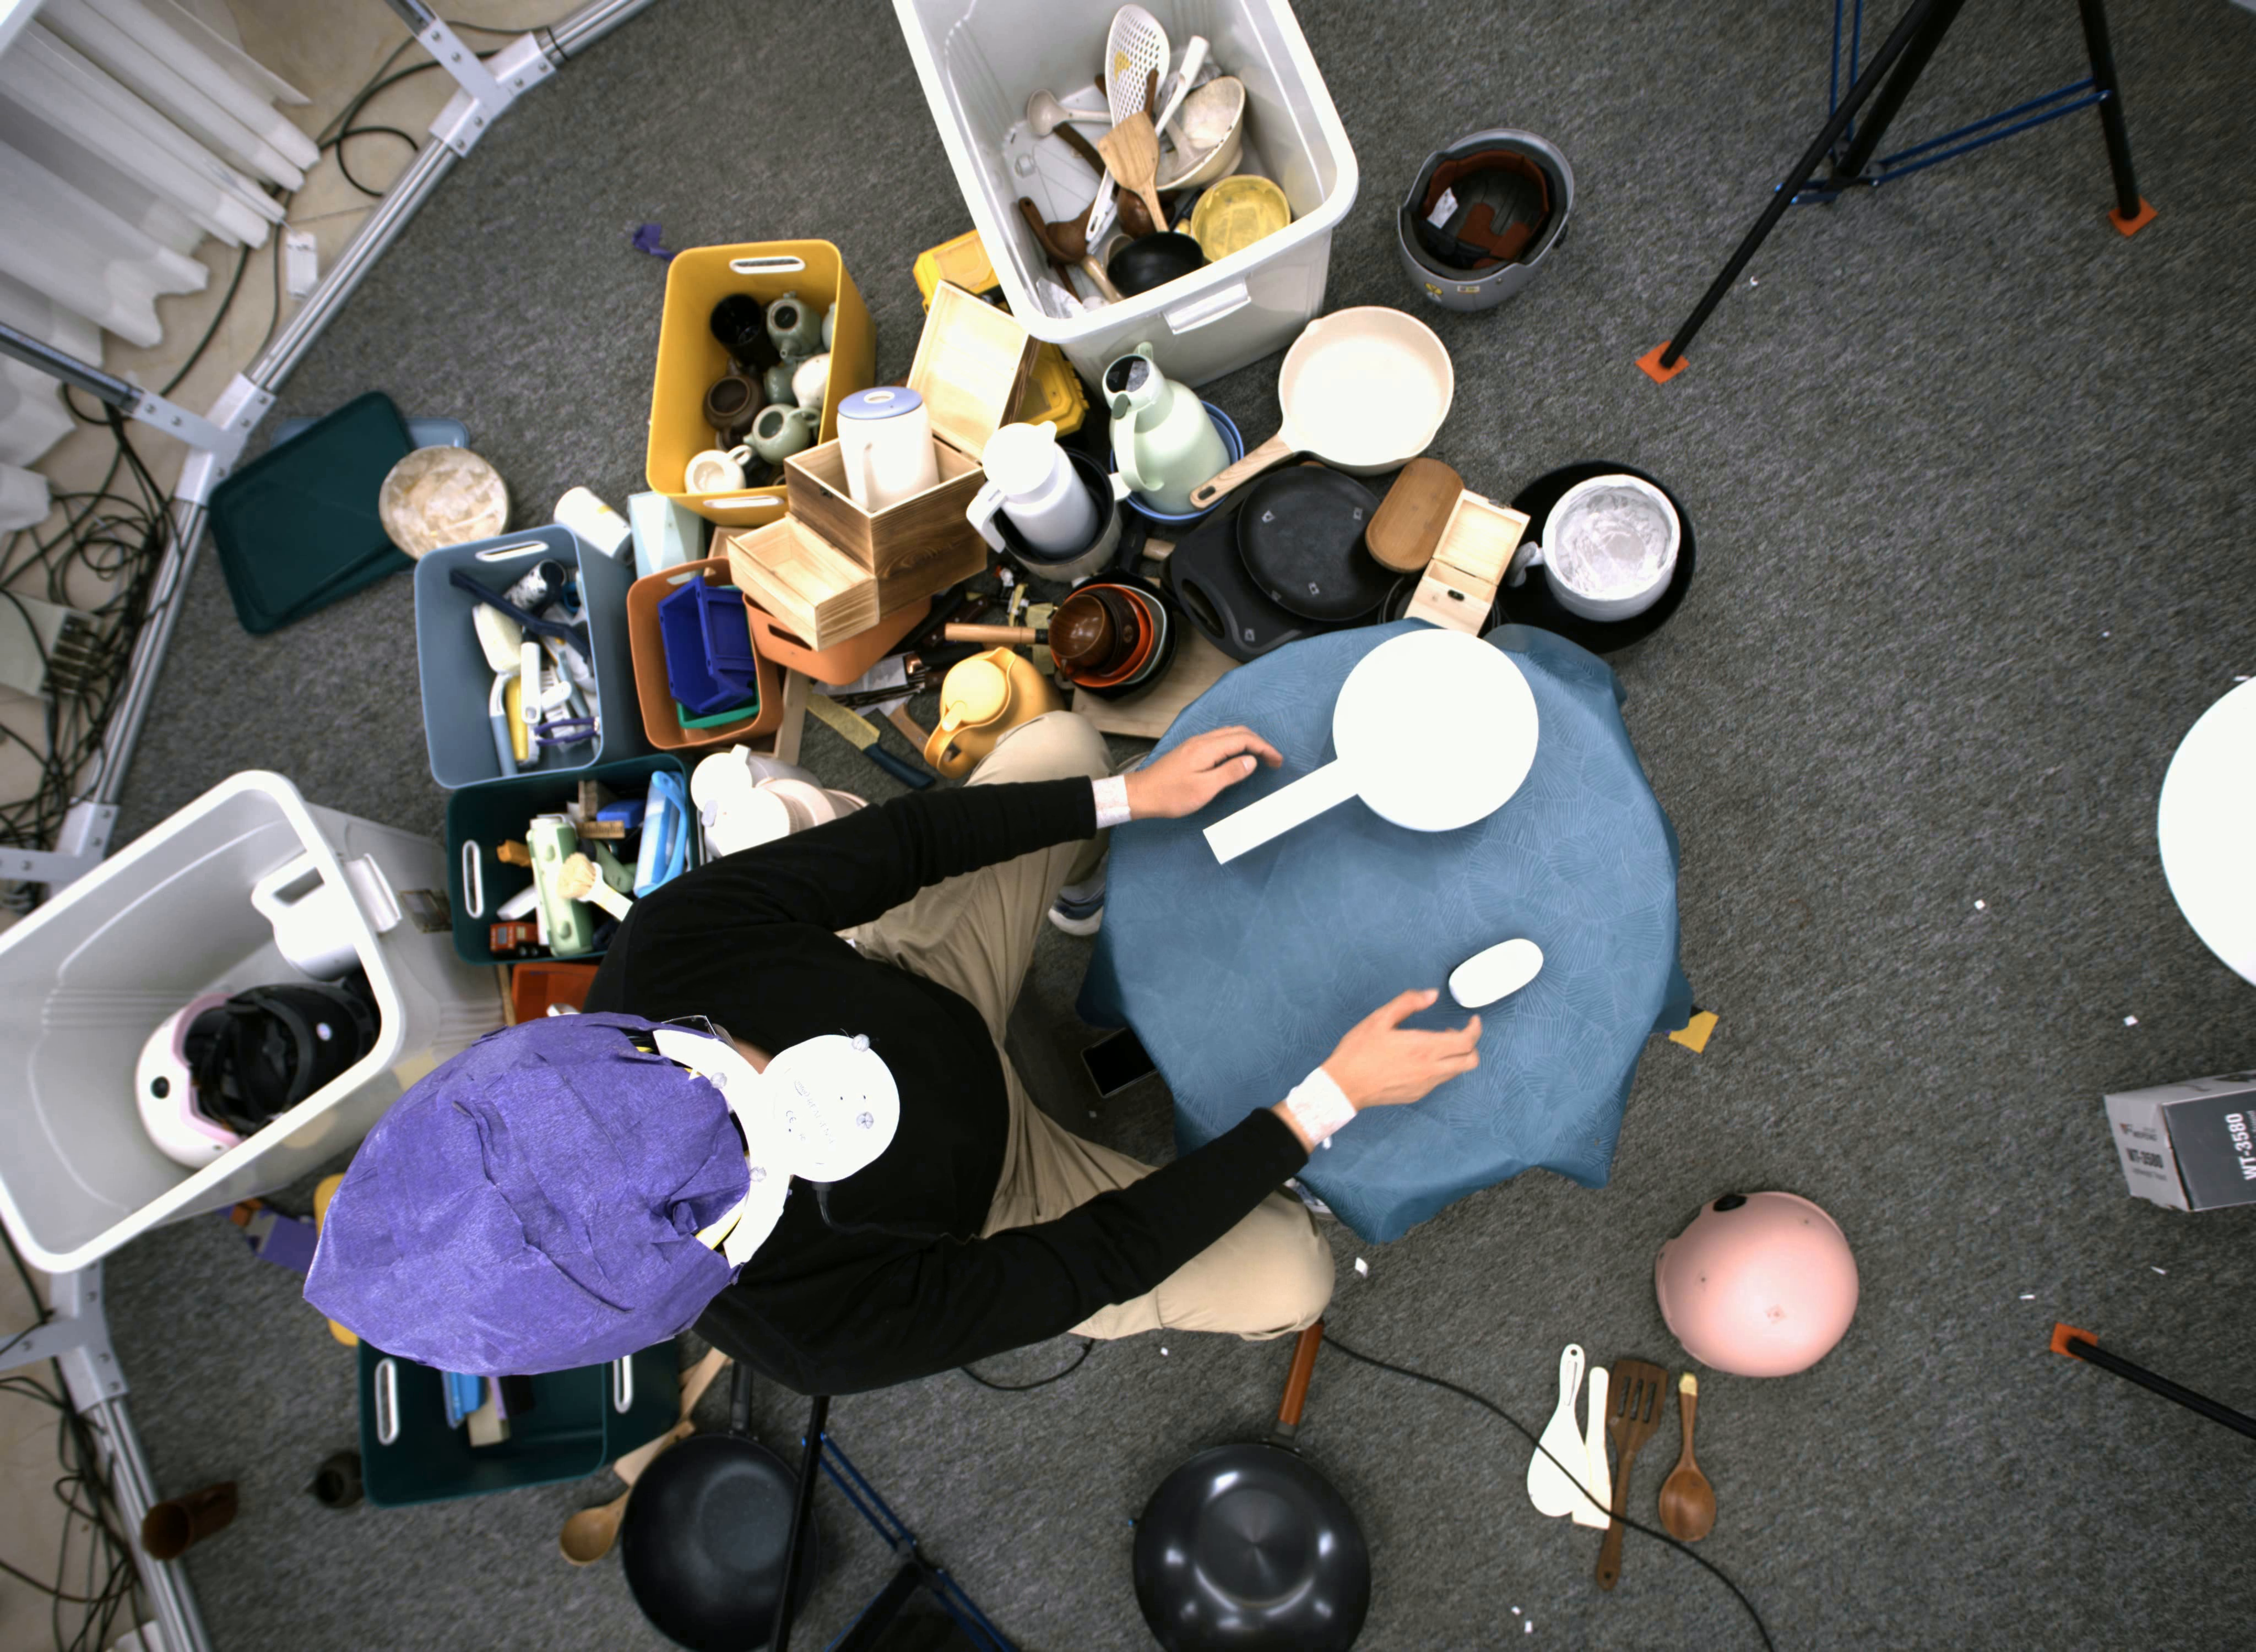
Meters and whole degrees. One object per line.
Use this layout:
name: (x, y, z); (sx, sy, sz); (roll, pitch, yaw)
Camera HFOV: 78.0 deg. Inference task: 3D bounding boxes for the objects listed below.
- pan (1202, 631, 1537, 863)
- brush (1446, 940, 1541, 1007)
pan: (0.245, -0.058, 1.424); (0.357, 0.102, 0.200); (-28, 84, 8)
brush: (0.372, 0.148, 1.400); (0.100, 0.072, 0.050); (-27, 81, 7)
